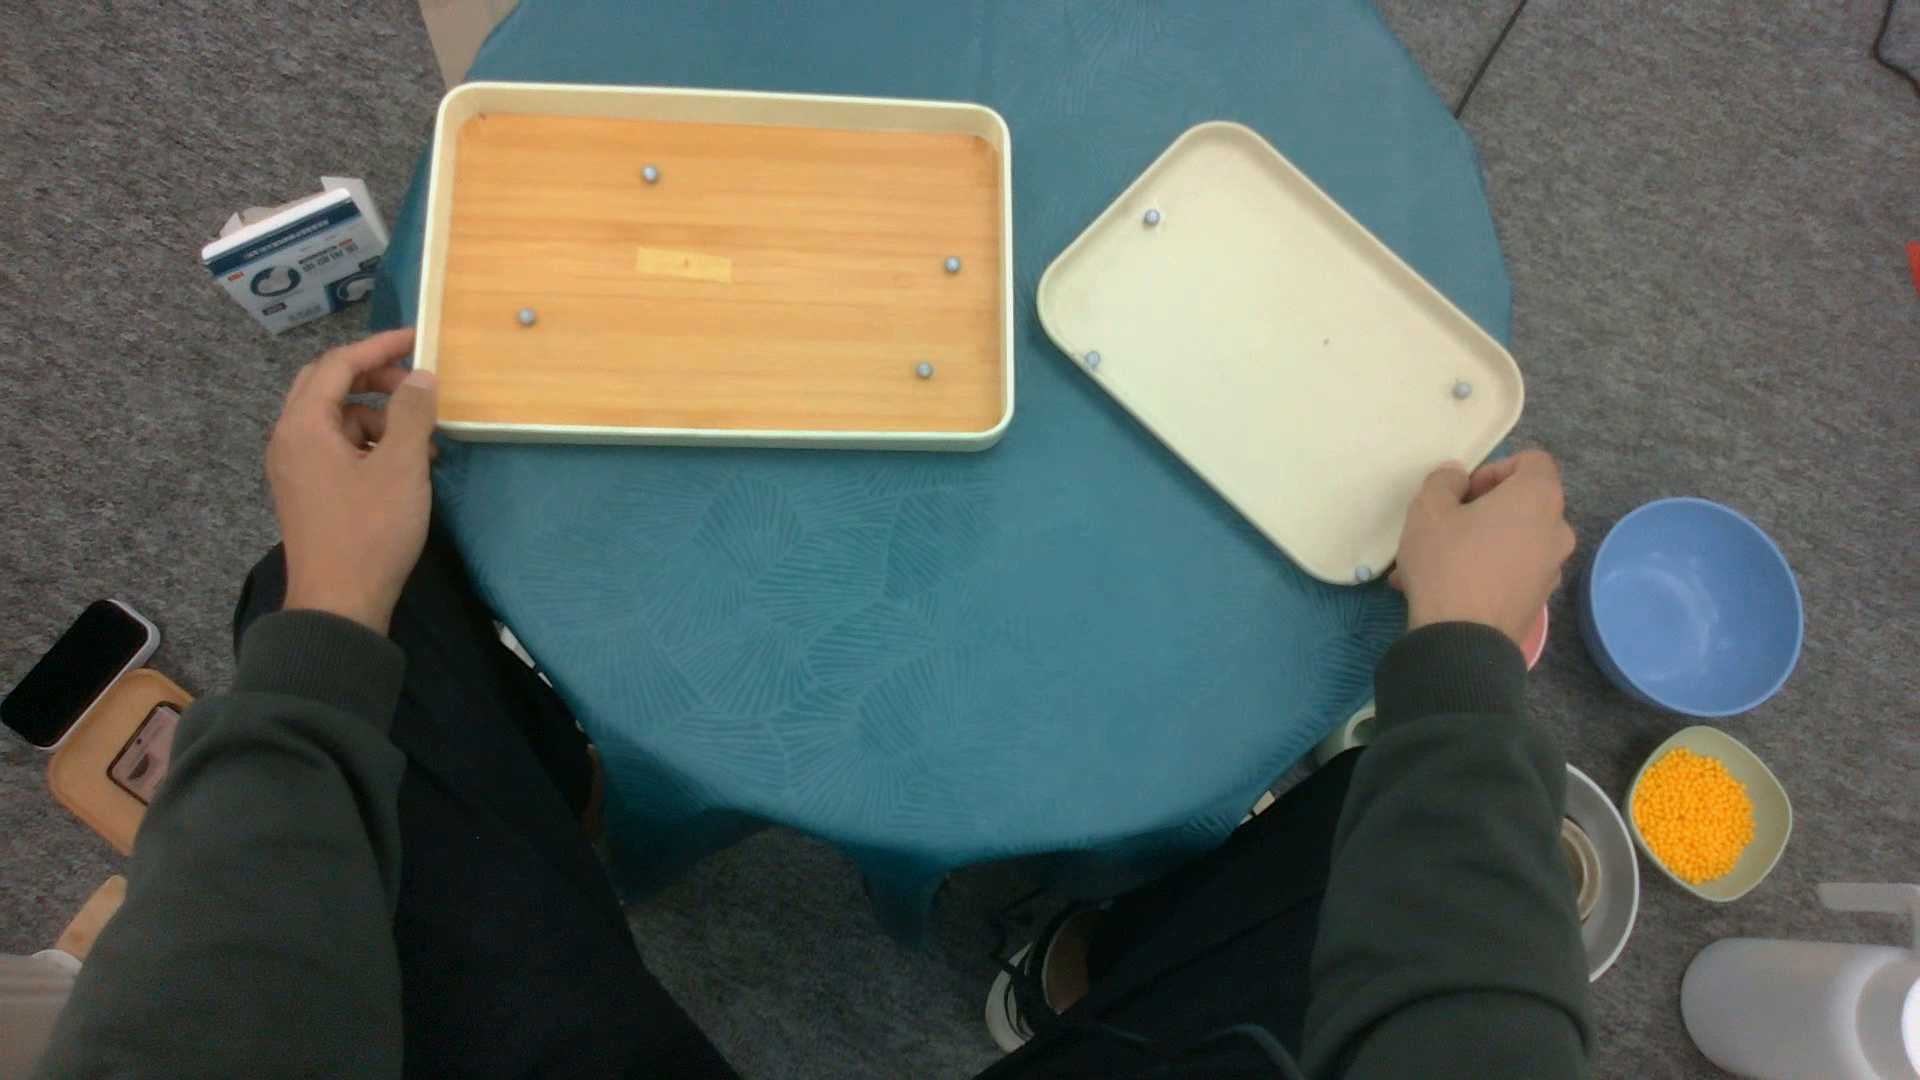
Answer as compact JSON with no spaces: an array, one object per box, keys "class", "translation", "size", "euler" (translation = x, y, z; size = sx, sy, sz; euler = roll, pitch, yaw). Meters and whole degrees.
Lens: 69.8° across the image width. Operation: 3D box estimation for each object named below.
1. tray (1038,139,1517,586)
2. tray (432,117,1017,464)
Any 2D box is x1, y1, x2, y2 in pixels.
[{"class":"tray","translation":[0.174,-0.100,0.757],"size":[0.240,0.017,0.171],"euler":[42,76,7]},{"class":"tray","translation":[-0.121,-0.134,0.740],"size":[0.300,0.027,0.192],"euler":[0,76,-4]}]
